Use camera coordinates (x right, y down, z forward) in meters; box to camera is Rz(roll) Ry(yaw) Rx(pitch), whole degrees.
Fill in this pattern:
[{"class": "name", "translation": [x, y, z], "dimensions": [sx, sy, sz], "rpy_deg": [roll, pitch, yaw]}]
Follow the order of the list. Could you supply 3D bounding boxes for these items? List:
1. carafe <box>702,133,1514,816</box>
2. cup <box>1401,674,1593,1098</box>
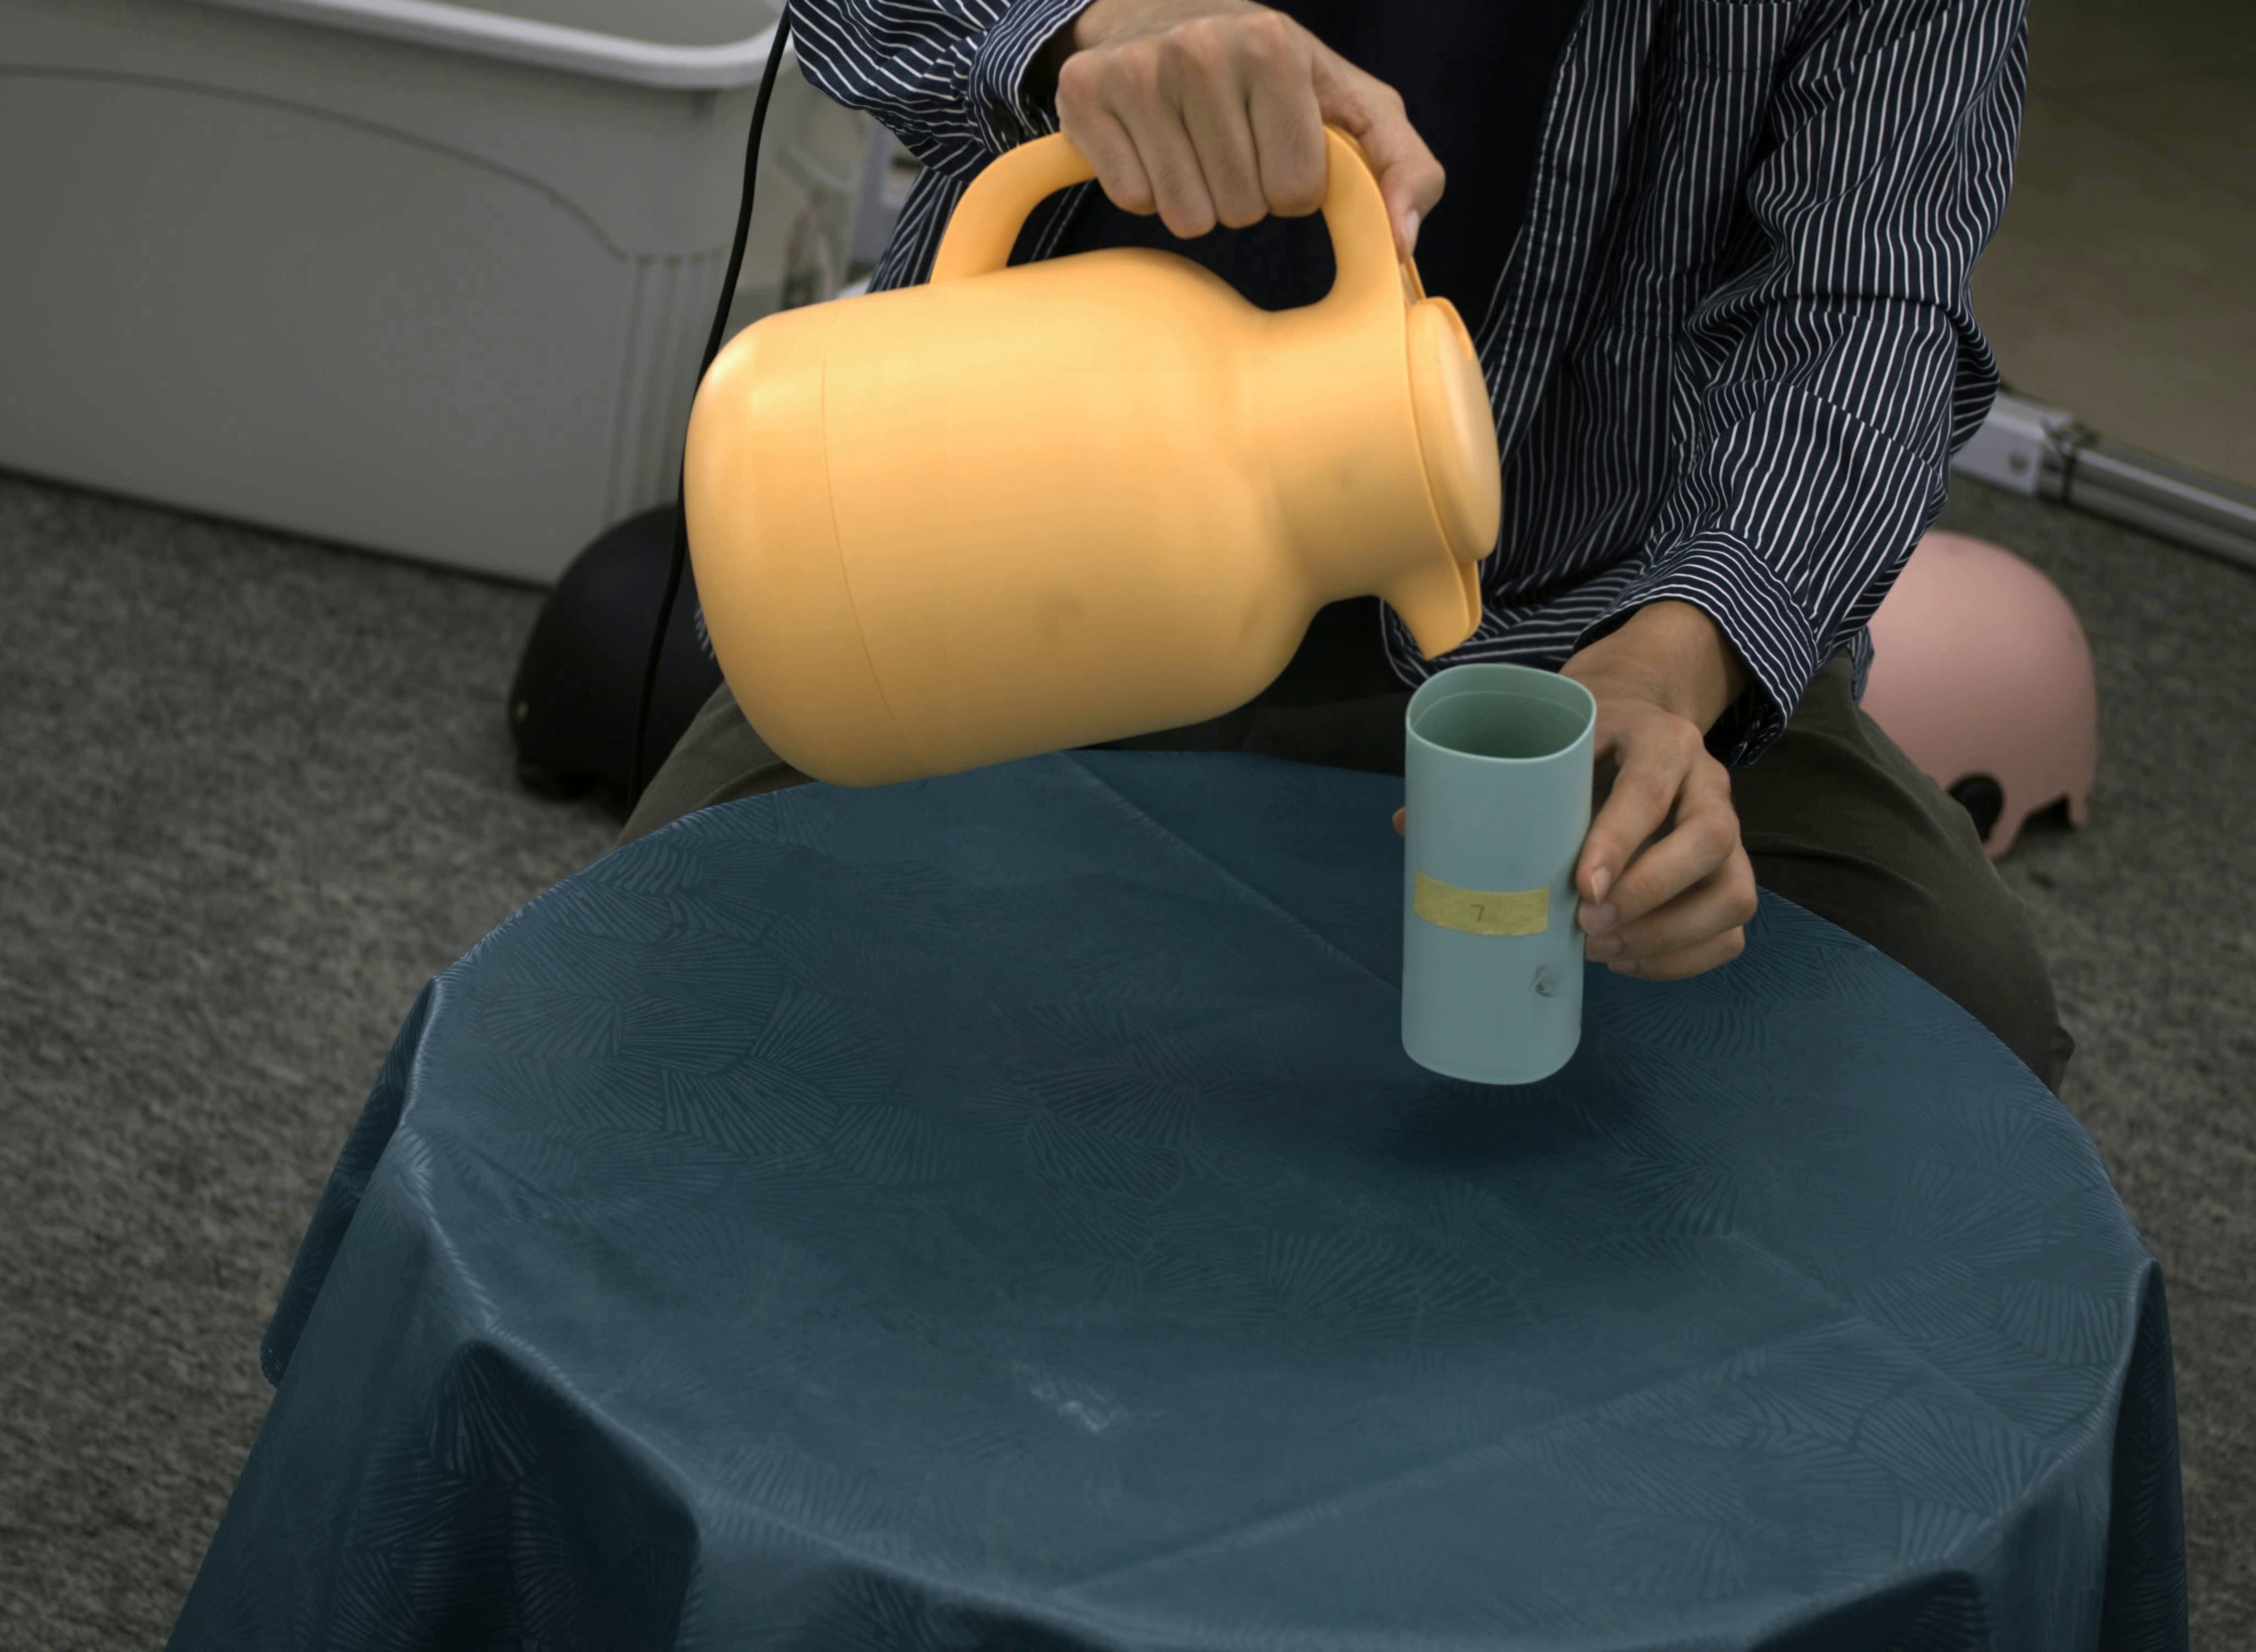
[{"class": "carafe", "translation": [-0.007, -0.119, 1.776], "dimensions": [0.260, 0.202, 0.163], "rpy_deg": [-10, 7, 13]}, {"class": "cup", "translation": [0.125, 0.020, 1.807], "dimensions": [0.066, 0.132, 0.067], "rpy_deg": [-1, 31, 0]}]
